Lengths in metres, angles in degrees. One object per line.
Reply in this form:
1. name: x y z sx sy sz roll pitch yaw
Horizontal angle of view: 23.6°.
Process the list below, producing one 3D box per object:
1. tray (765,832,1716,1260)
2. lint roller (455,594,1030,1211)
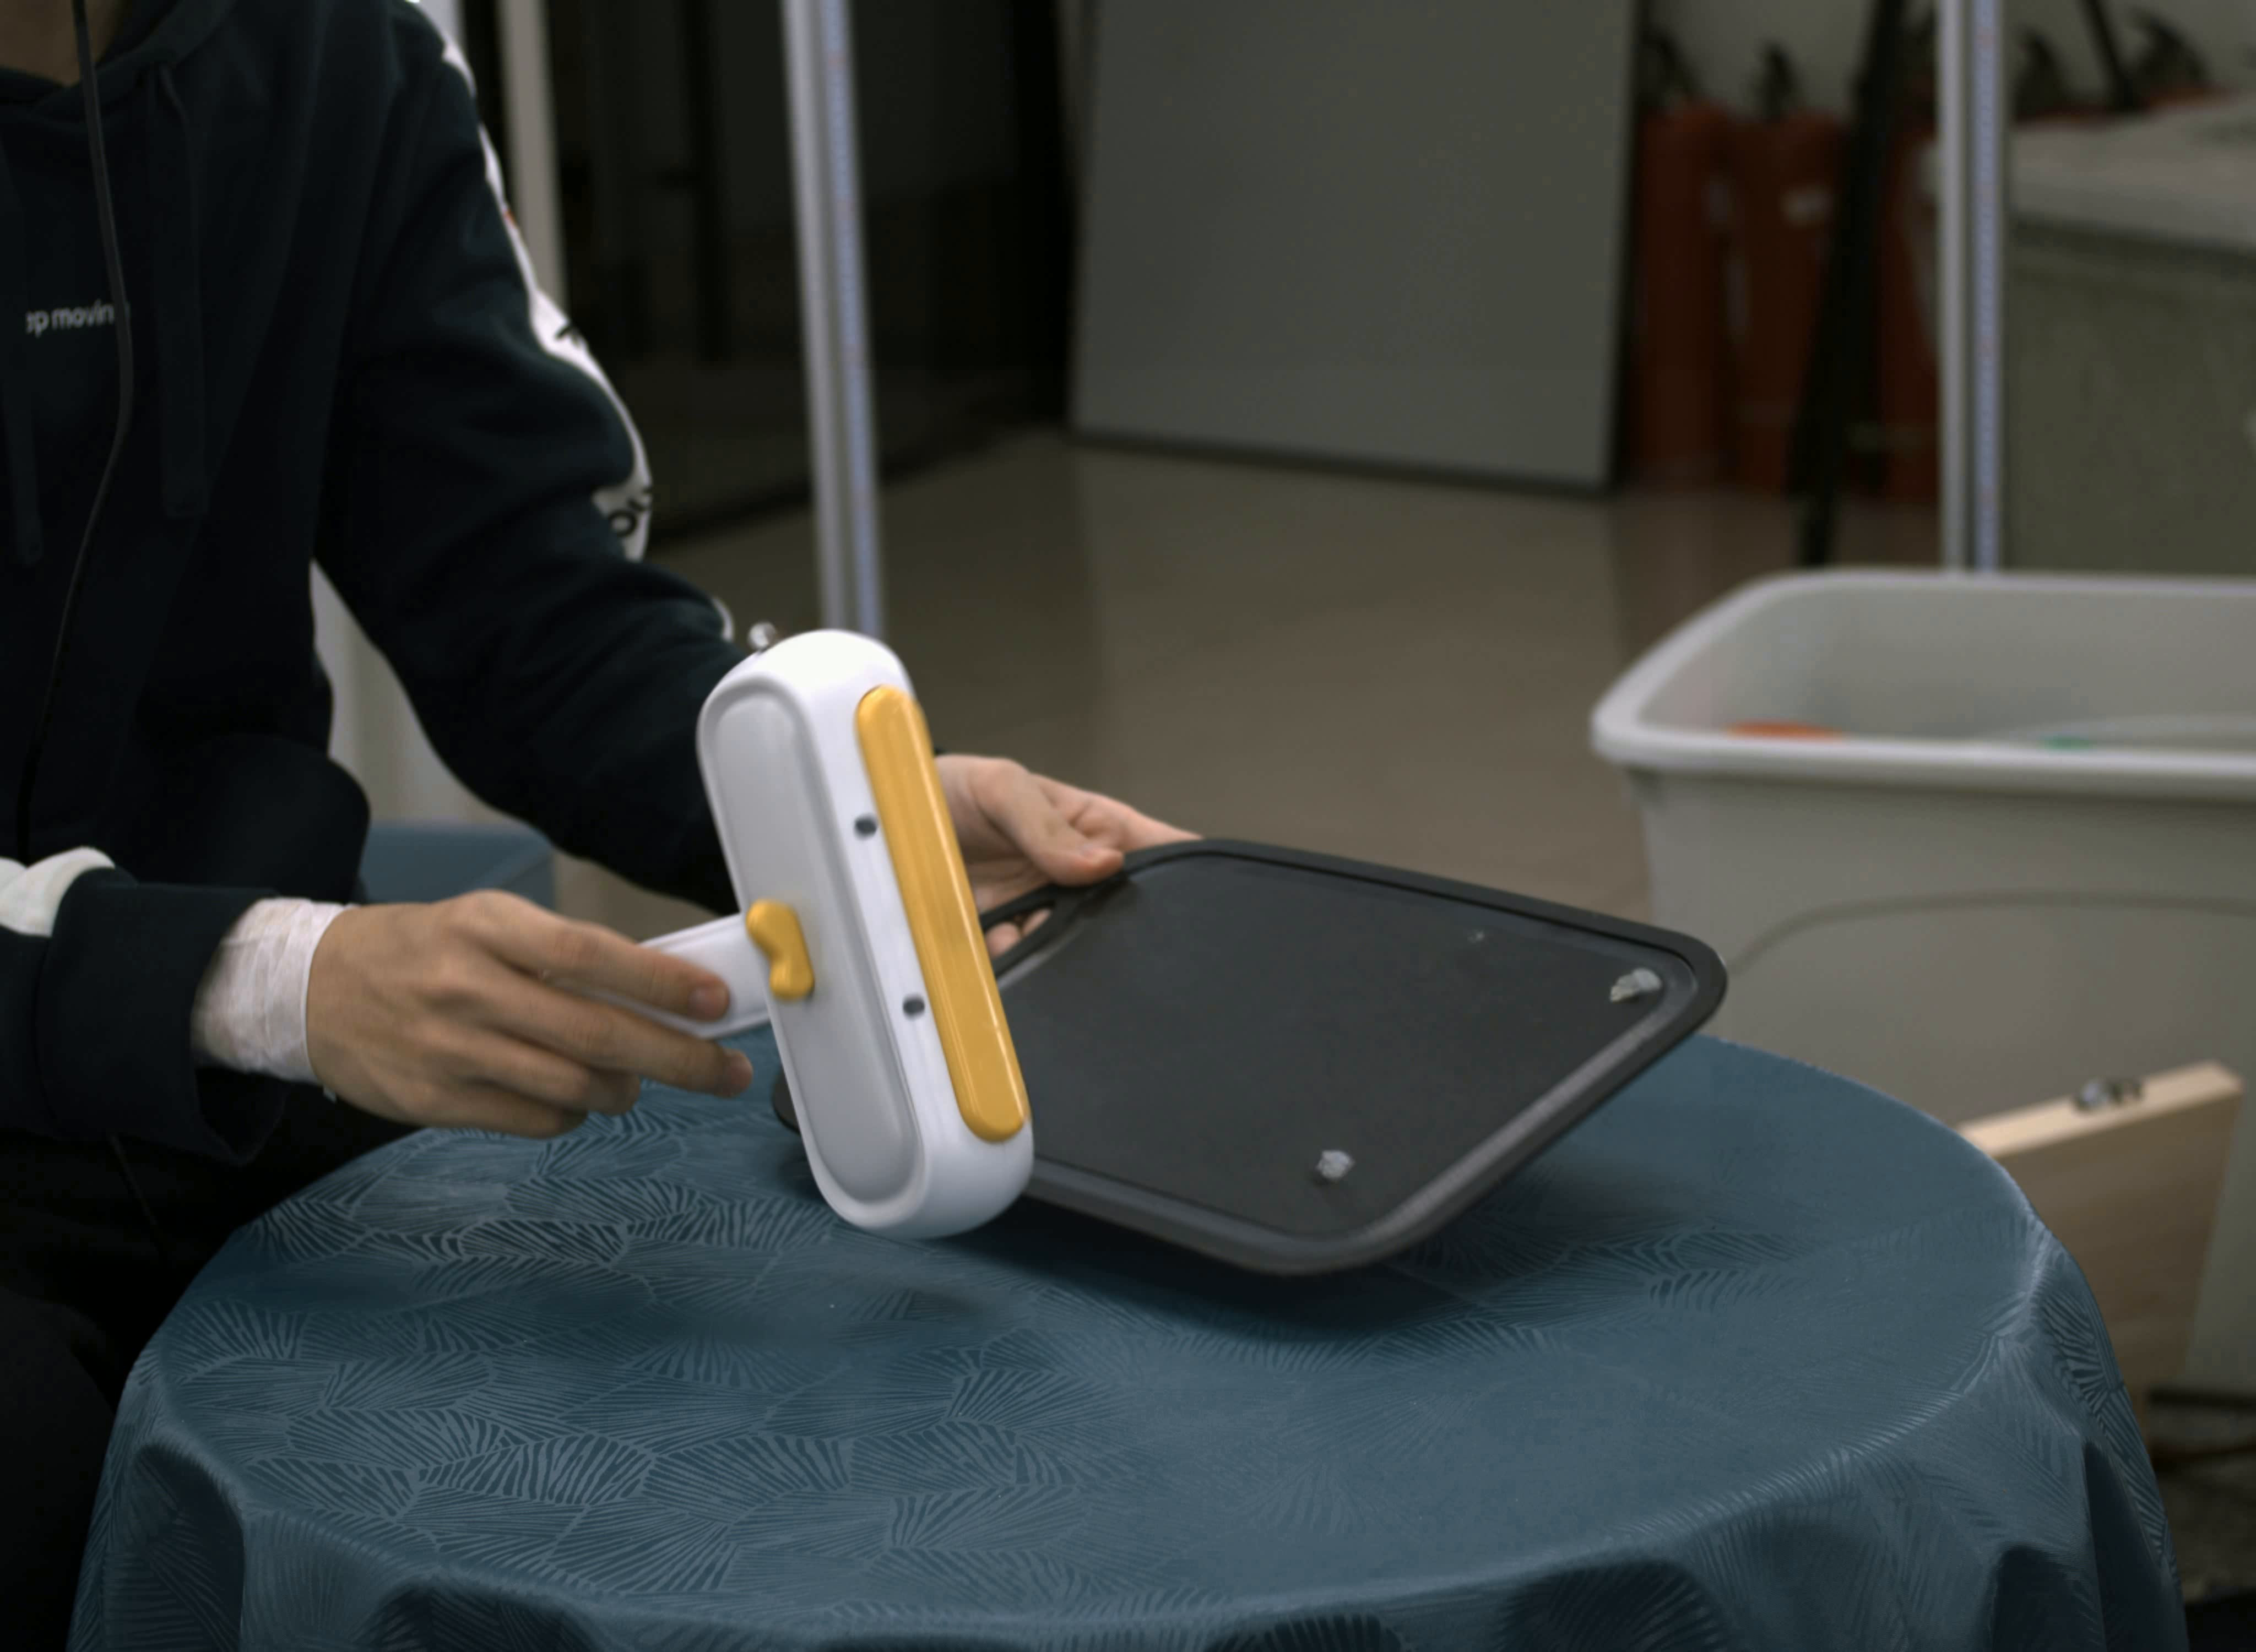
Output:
1. tray: 0.026 0.065 1.772 0.208 0.010 0.329 -34 28 -32
2. lint roller: -0.130 0.044 1.704 0.194 0.195 0.073 -24 -7 37
